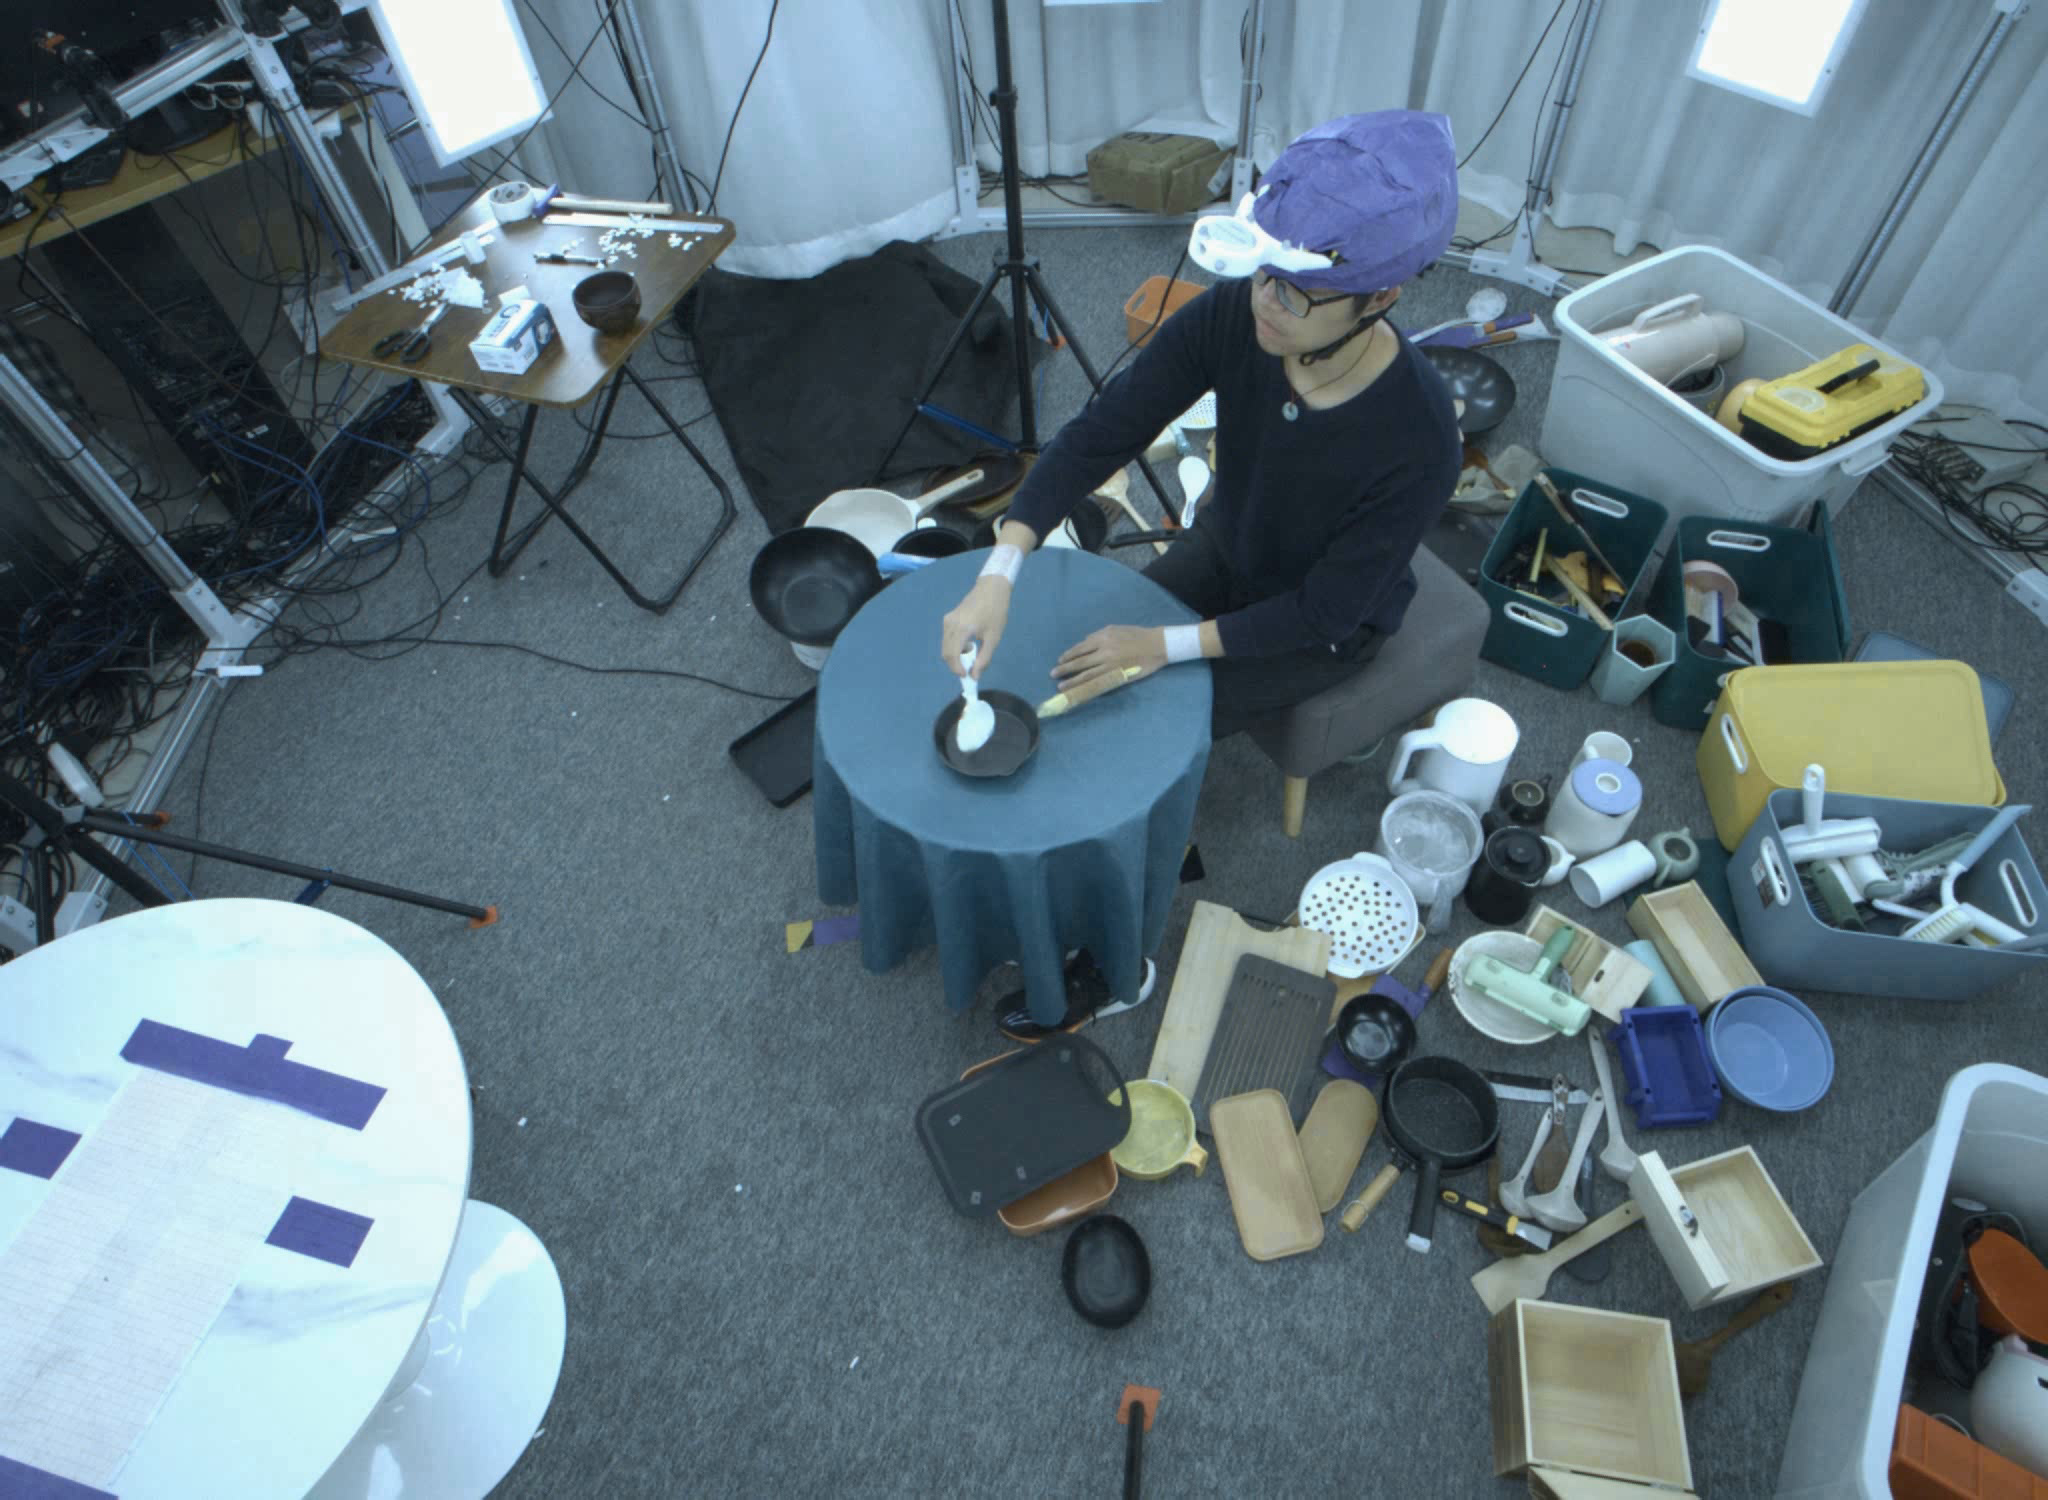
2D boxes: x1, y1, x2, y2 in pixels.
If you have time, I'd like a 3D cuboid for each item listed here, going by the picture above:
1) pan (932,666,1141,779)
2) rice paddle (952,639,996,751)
[{"bbox_3d":[0.024,-0.052,1.792,0.326,0.050,0.166,-21,56,-10],"label":"pan"},{"bbox_3d":[-0.072,-0.070,1.708,0.069,0.208,0.029,-35,54,-22],"label":"rice paddle"}]
